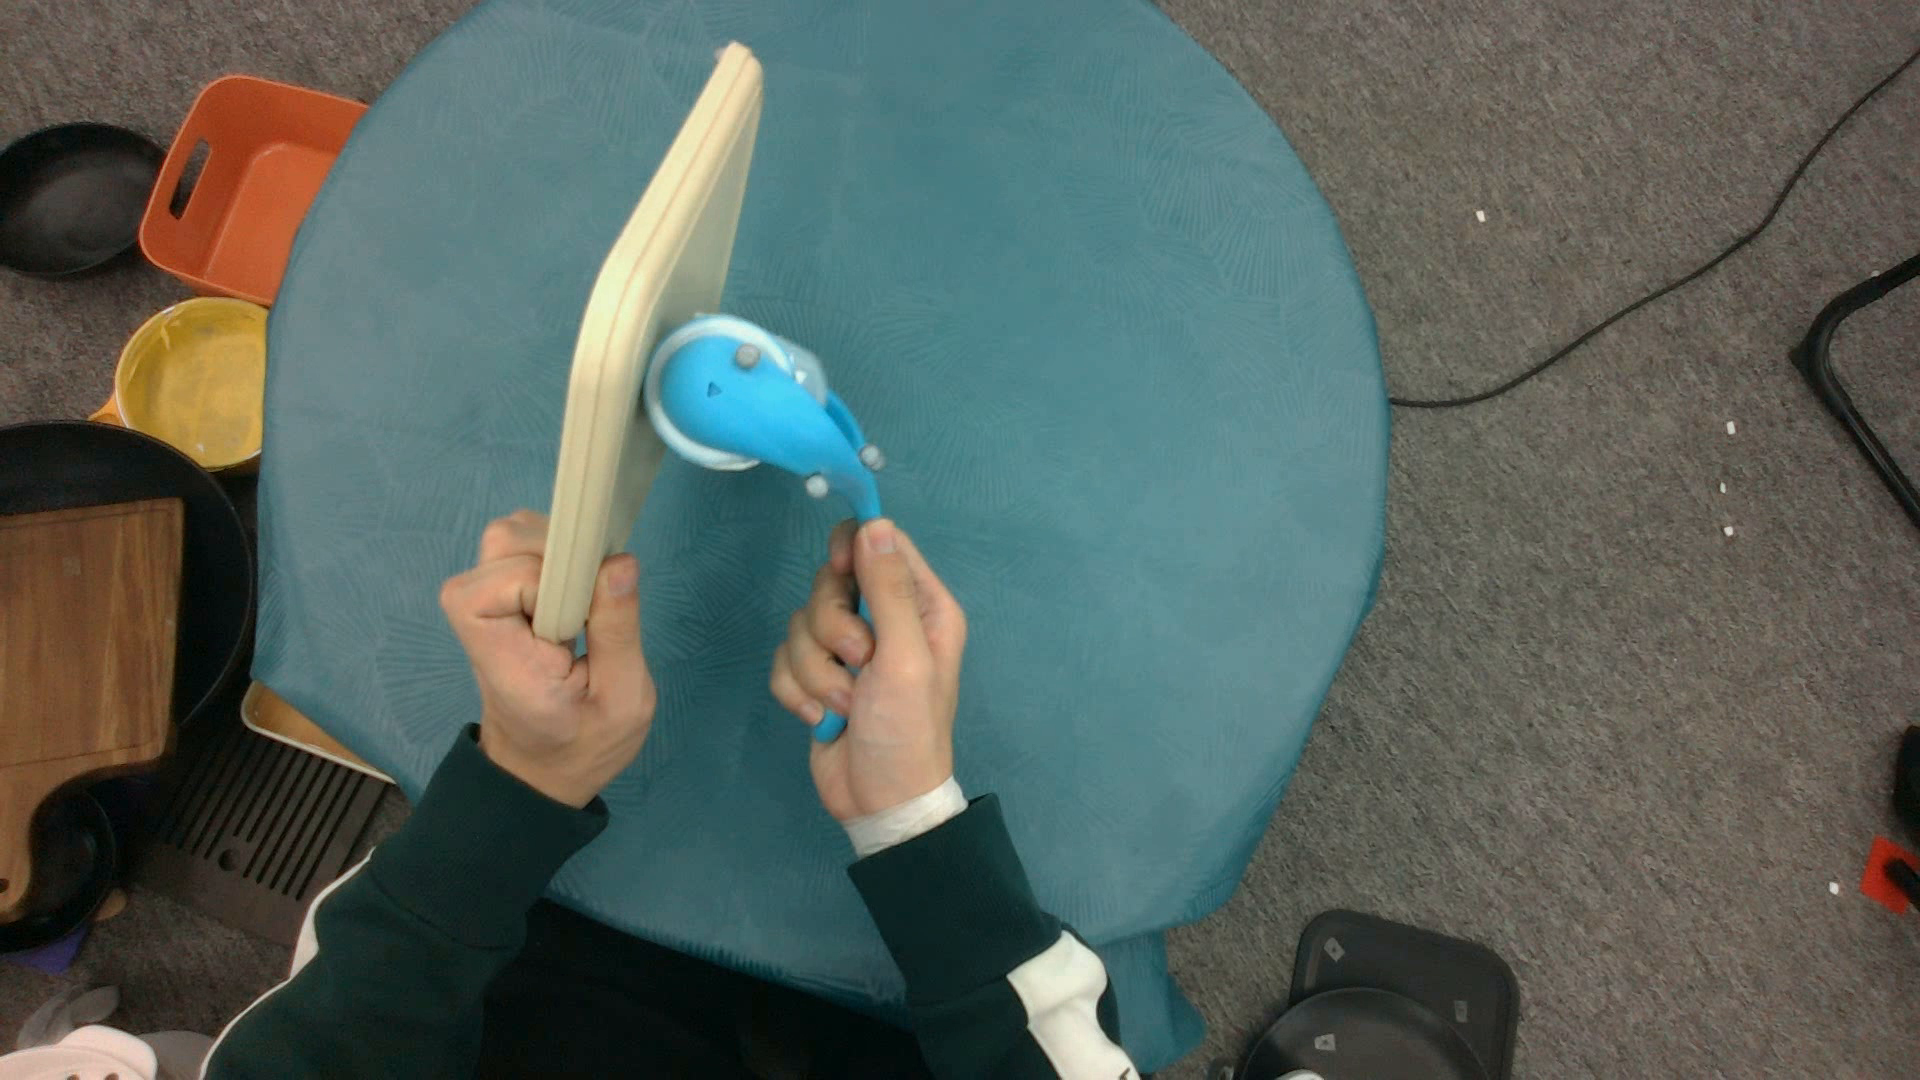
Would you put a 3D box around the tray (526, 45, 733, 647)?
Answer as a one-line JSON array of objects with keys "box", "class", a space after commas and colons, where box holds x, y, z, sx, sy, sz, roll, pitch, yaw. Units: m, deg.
[{"box": [-0.128, -0.084, 0.555, 0.017, 0.170, 0.241, 14, 39, -9], "class": "tray"}]

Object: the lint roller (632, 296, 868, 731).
[{"box": [-0.069, -0.014, 0.577, 0.068, 0.229, 0.180, -21, 99, -1], "class": "lint roller"}]
